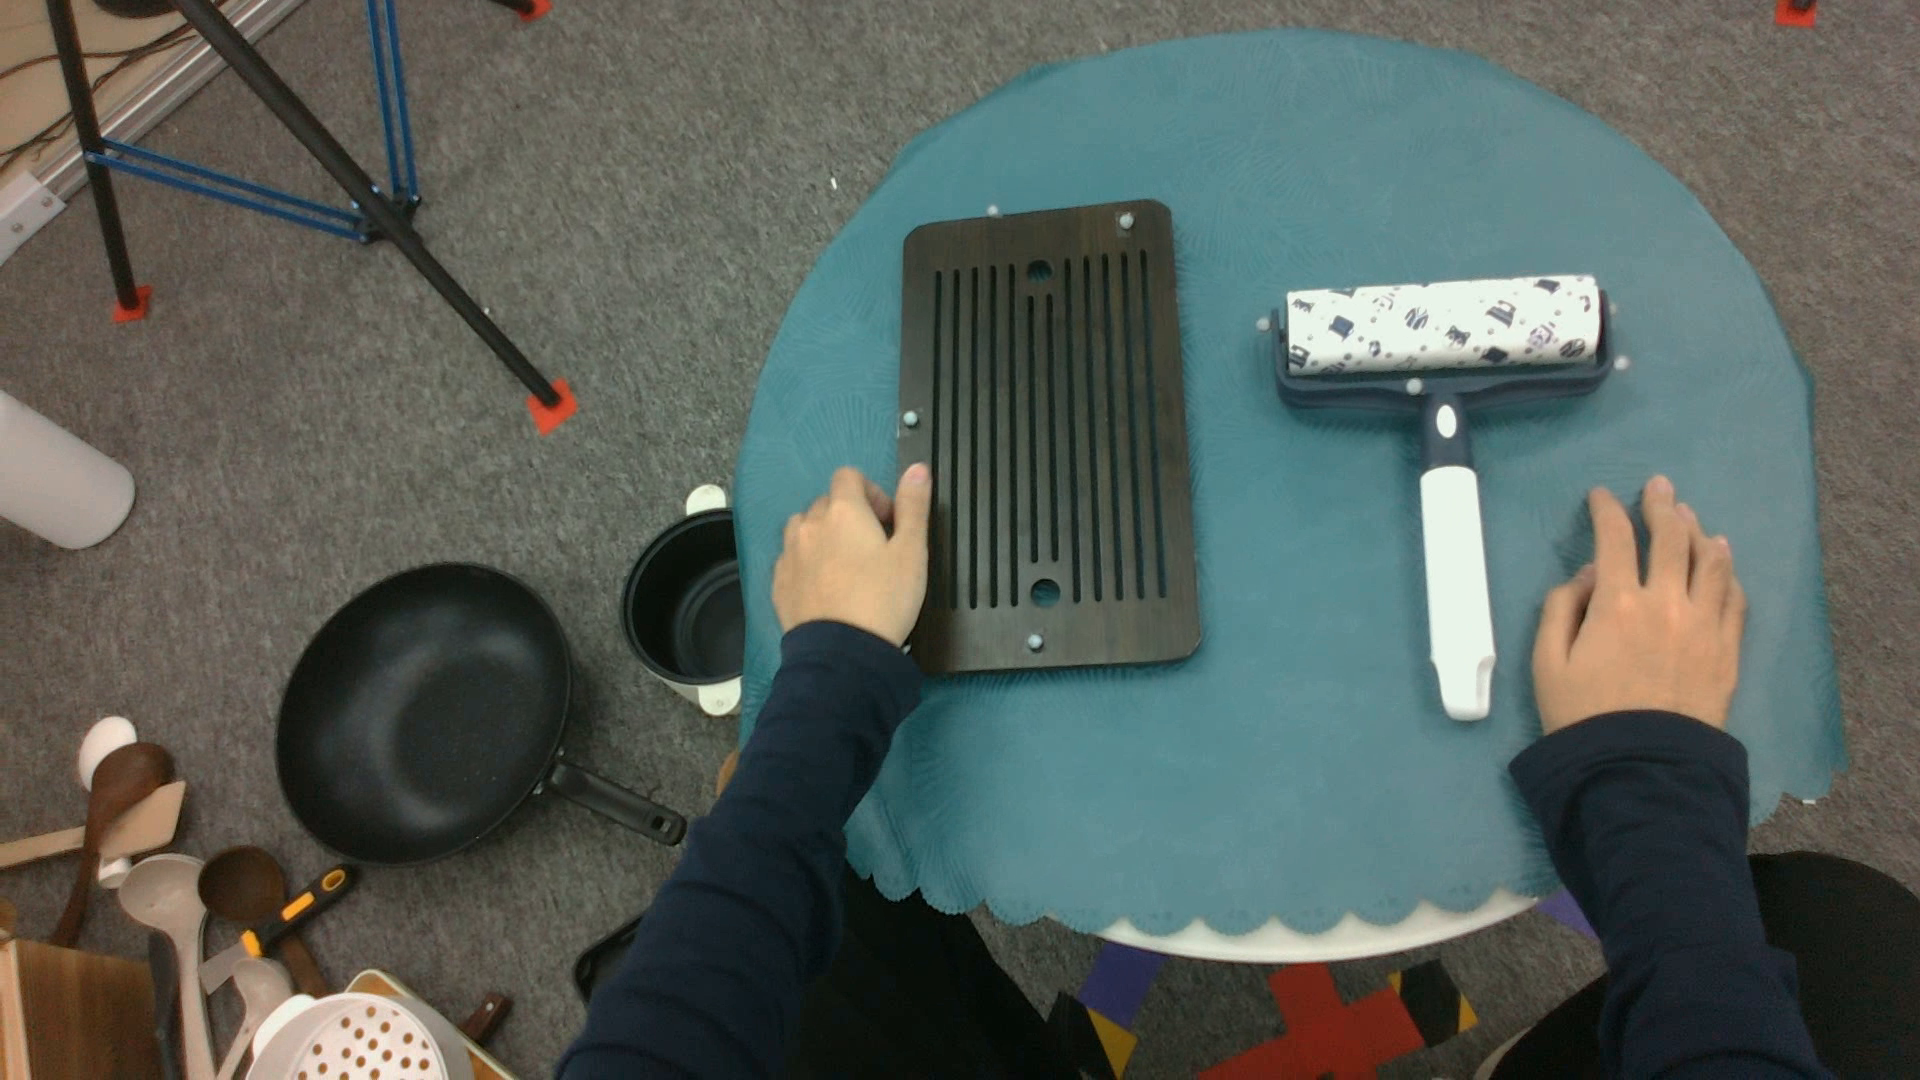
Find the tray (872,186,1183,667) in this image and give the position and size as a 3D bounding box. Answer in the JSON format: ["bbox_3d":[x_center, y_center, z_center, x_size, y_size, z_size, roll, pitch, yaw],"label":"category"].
[{"bbox_3d":[0.037,-0.073,0.805,0.170,0.018,0.307,-3,65,9],"label":"tray"}]

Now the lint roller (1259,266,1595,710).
[{"bbox_3d":[0.254,-0.034,0.733,0.176,0.050,0.248,-1,68,9],"label":"lint roller"}]
